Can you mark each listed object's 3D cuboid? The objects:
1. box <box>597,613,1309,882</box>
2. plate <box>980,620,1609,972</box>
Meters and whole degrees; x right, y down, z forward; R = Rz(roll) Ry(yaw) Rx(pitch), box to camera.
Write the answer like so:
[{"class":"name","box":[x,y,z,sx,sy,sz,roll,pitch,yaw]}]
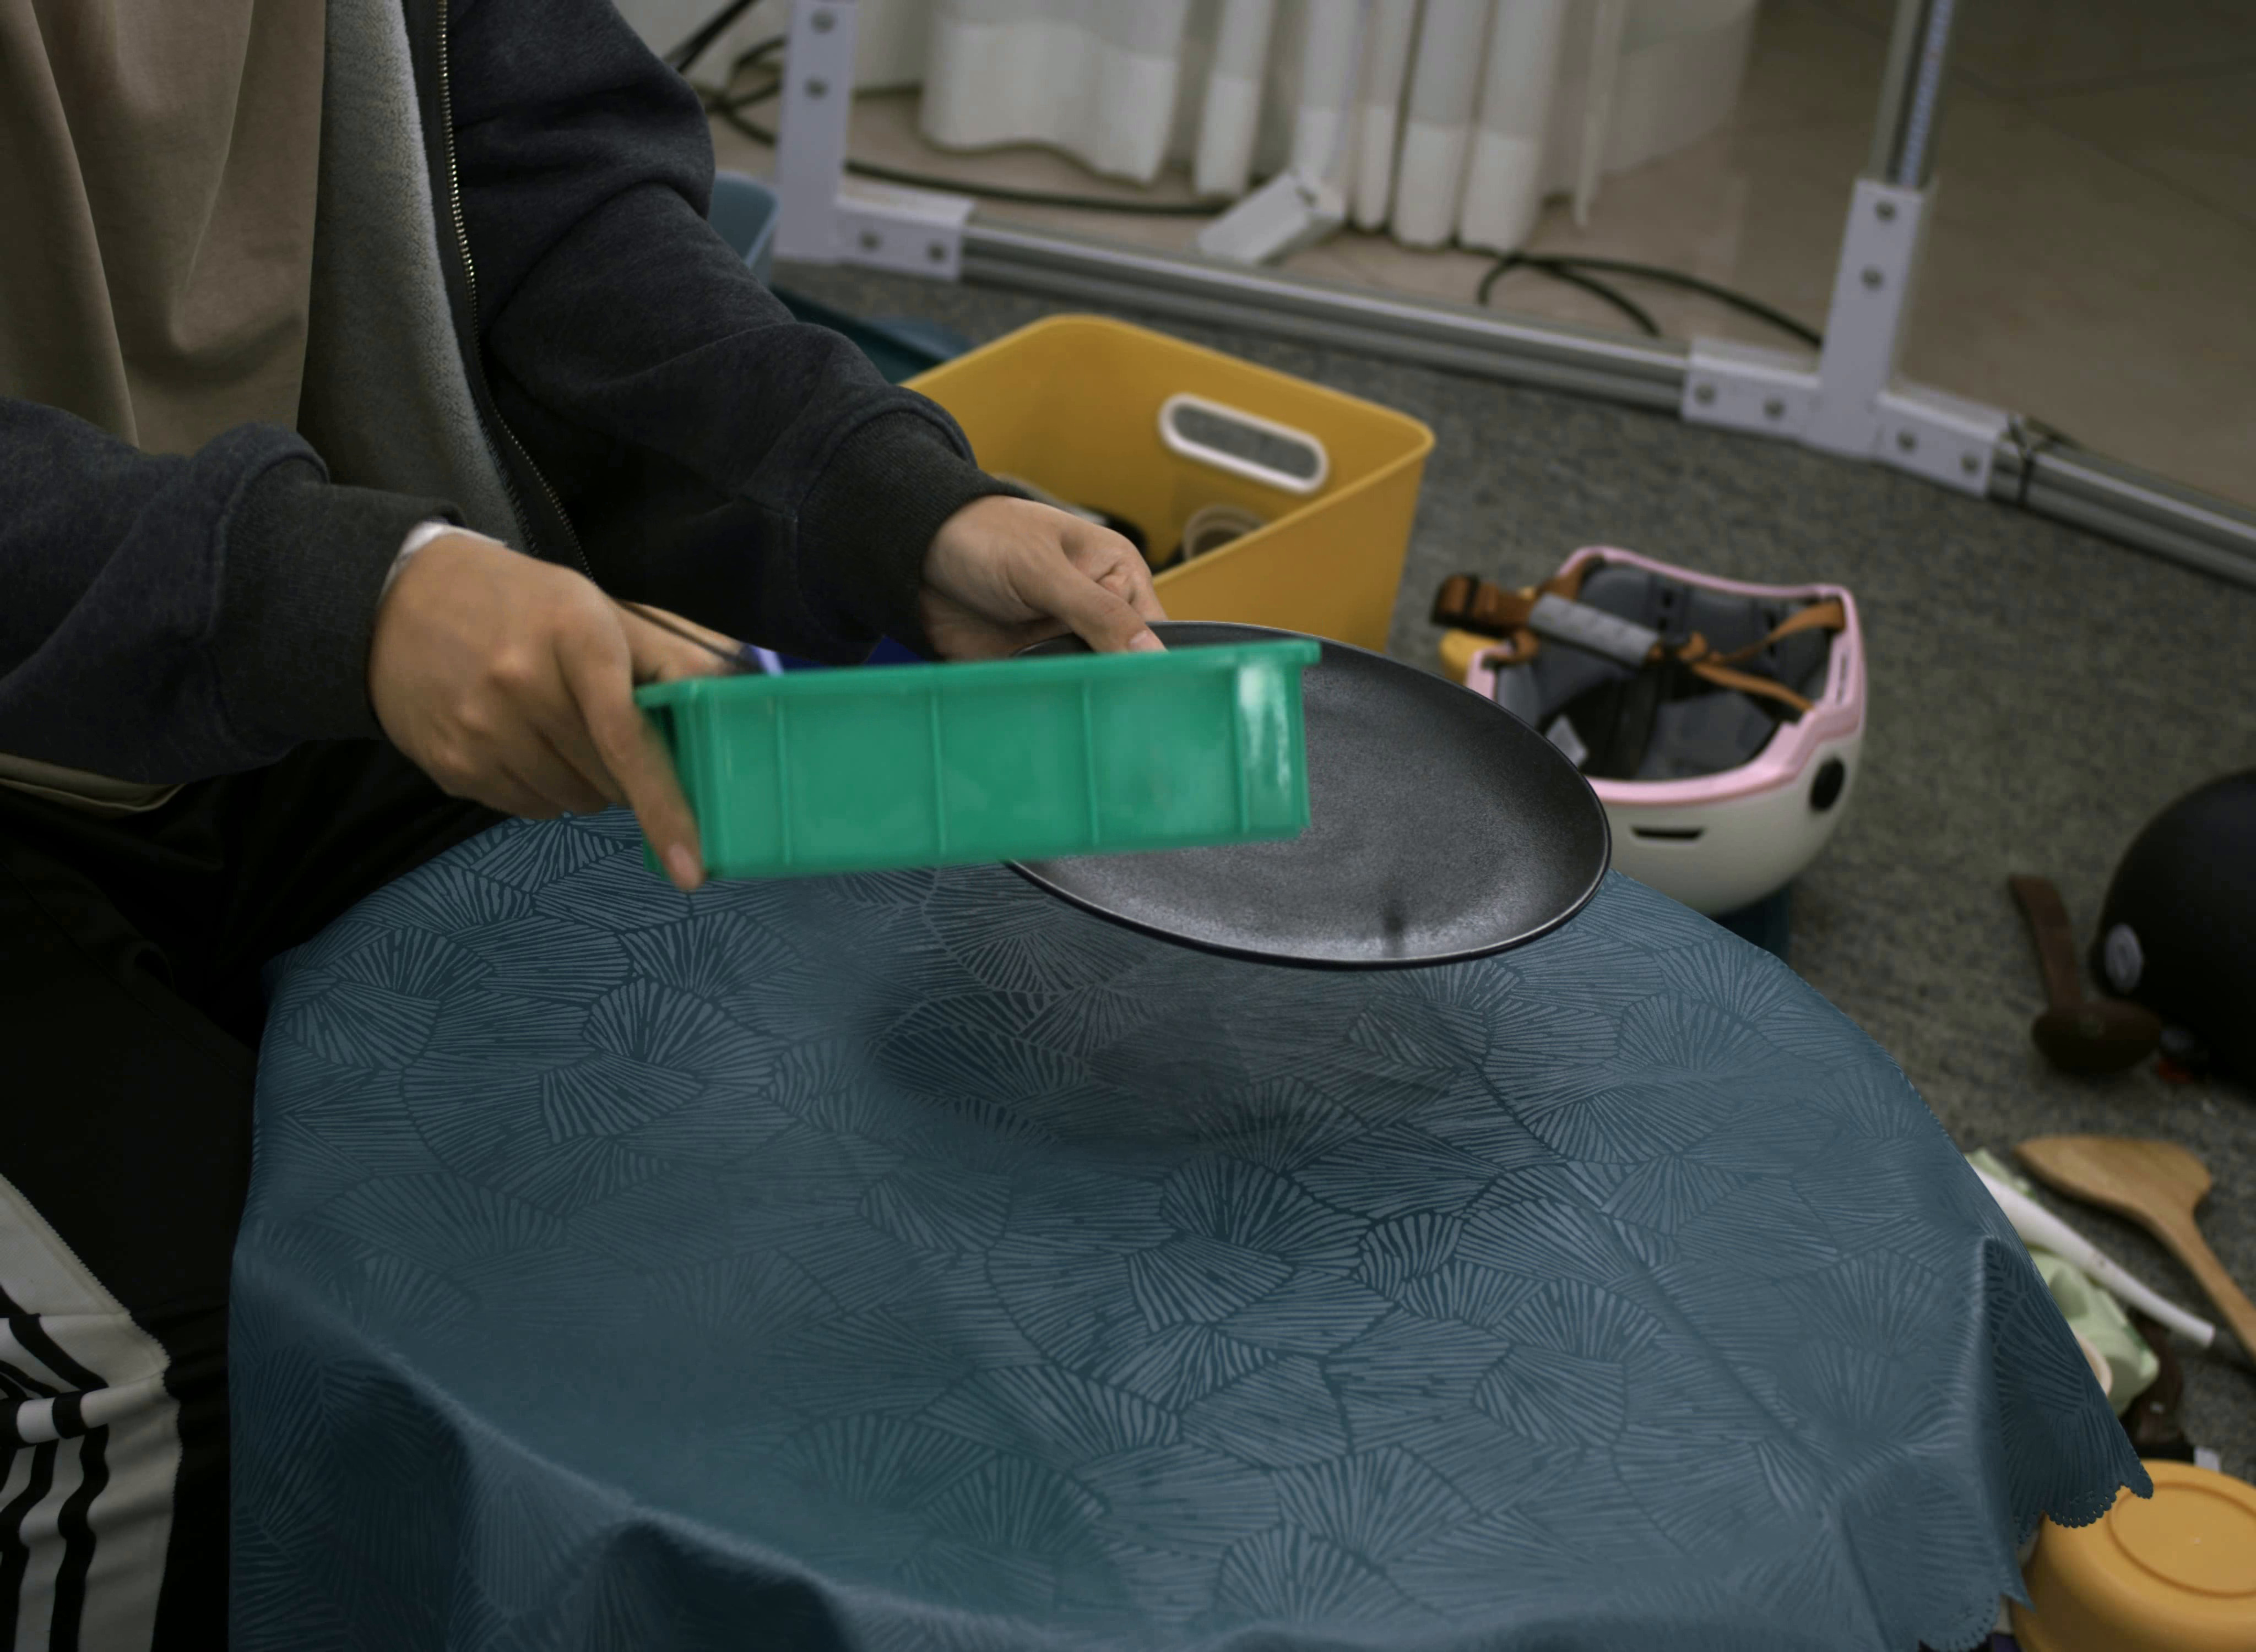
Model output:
[{"class":"box","box":[-0.053,-0.022,1.640,0.209,0.065,0.139,-6,-3,-15]},{"class":"plate","box":[0.049,-0.006,1.887,0.243,0.023,0.246,7,29,-4]}]
